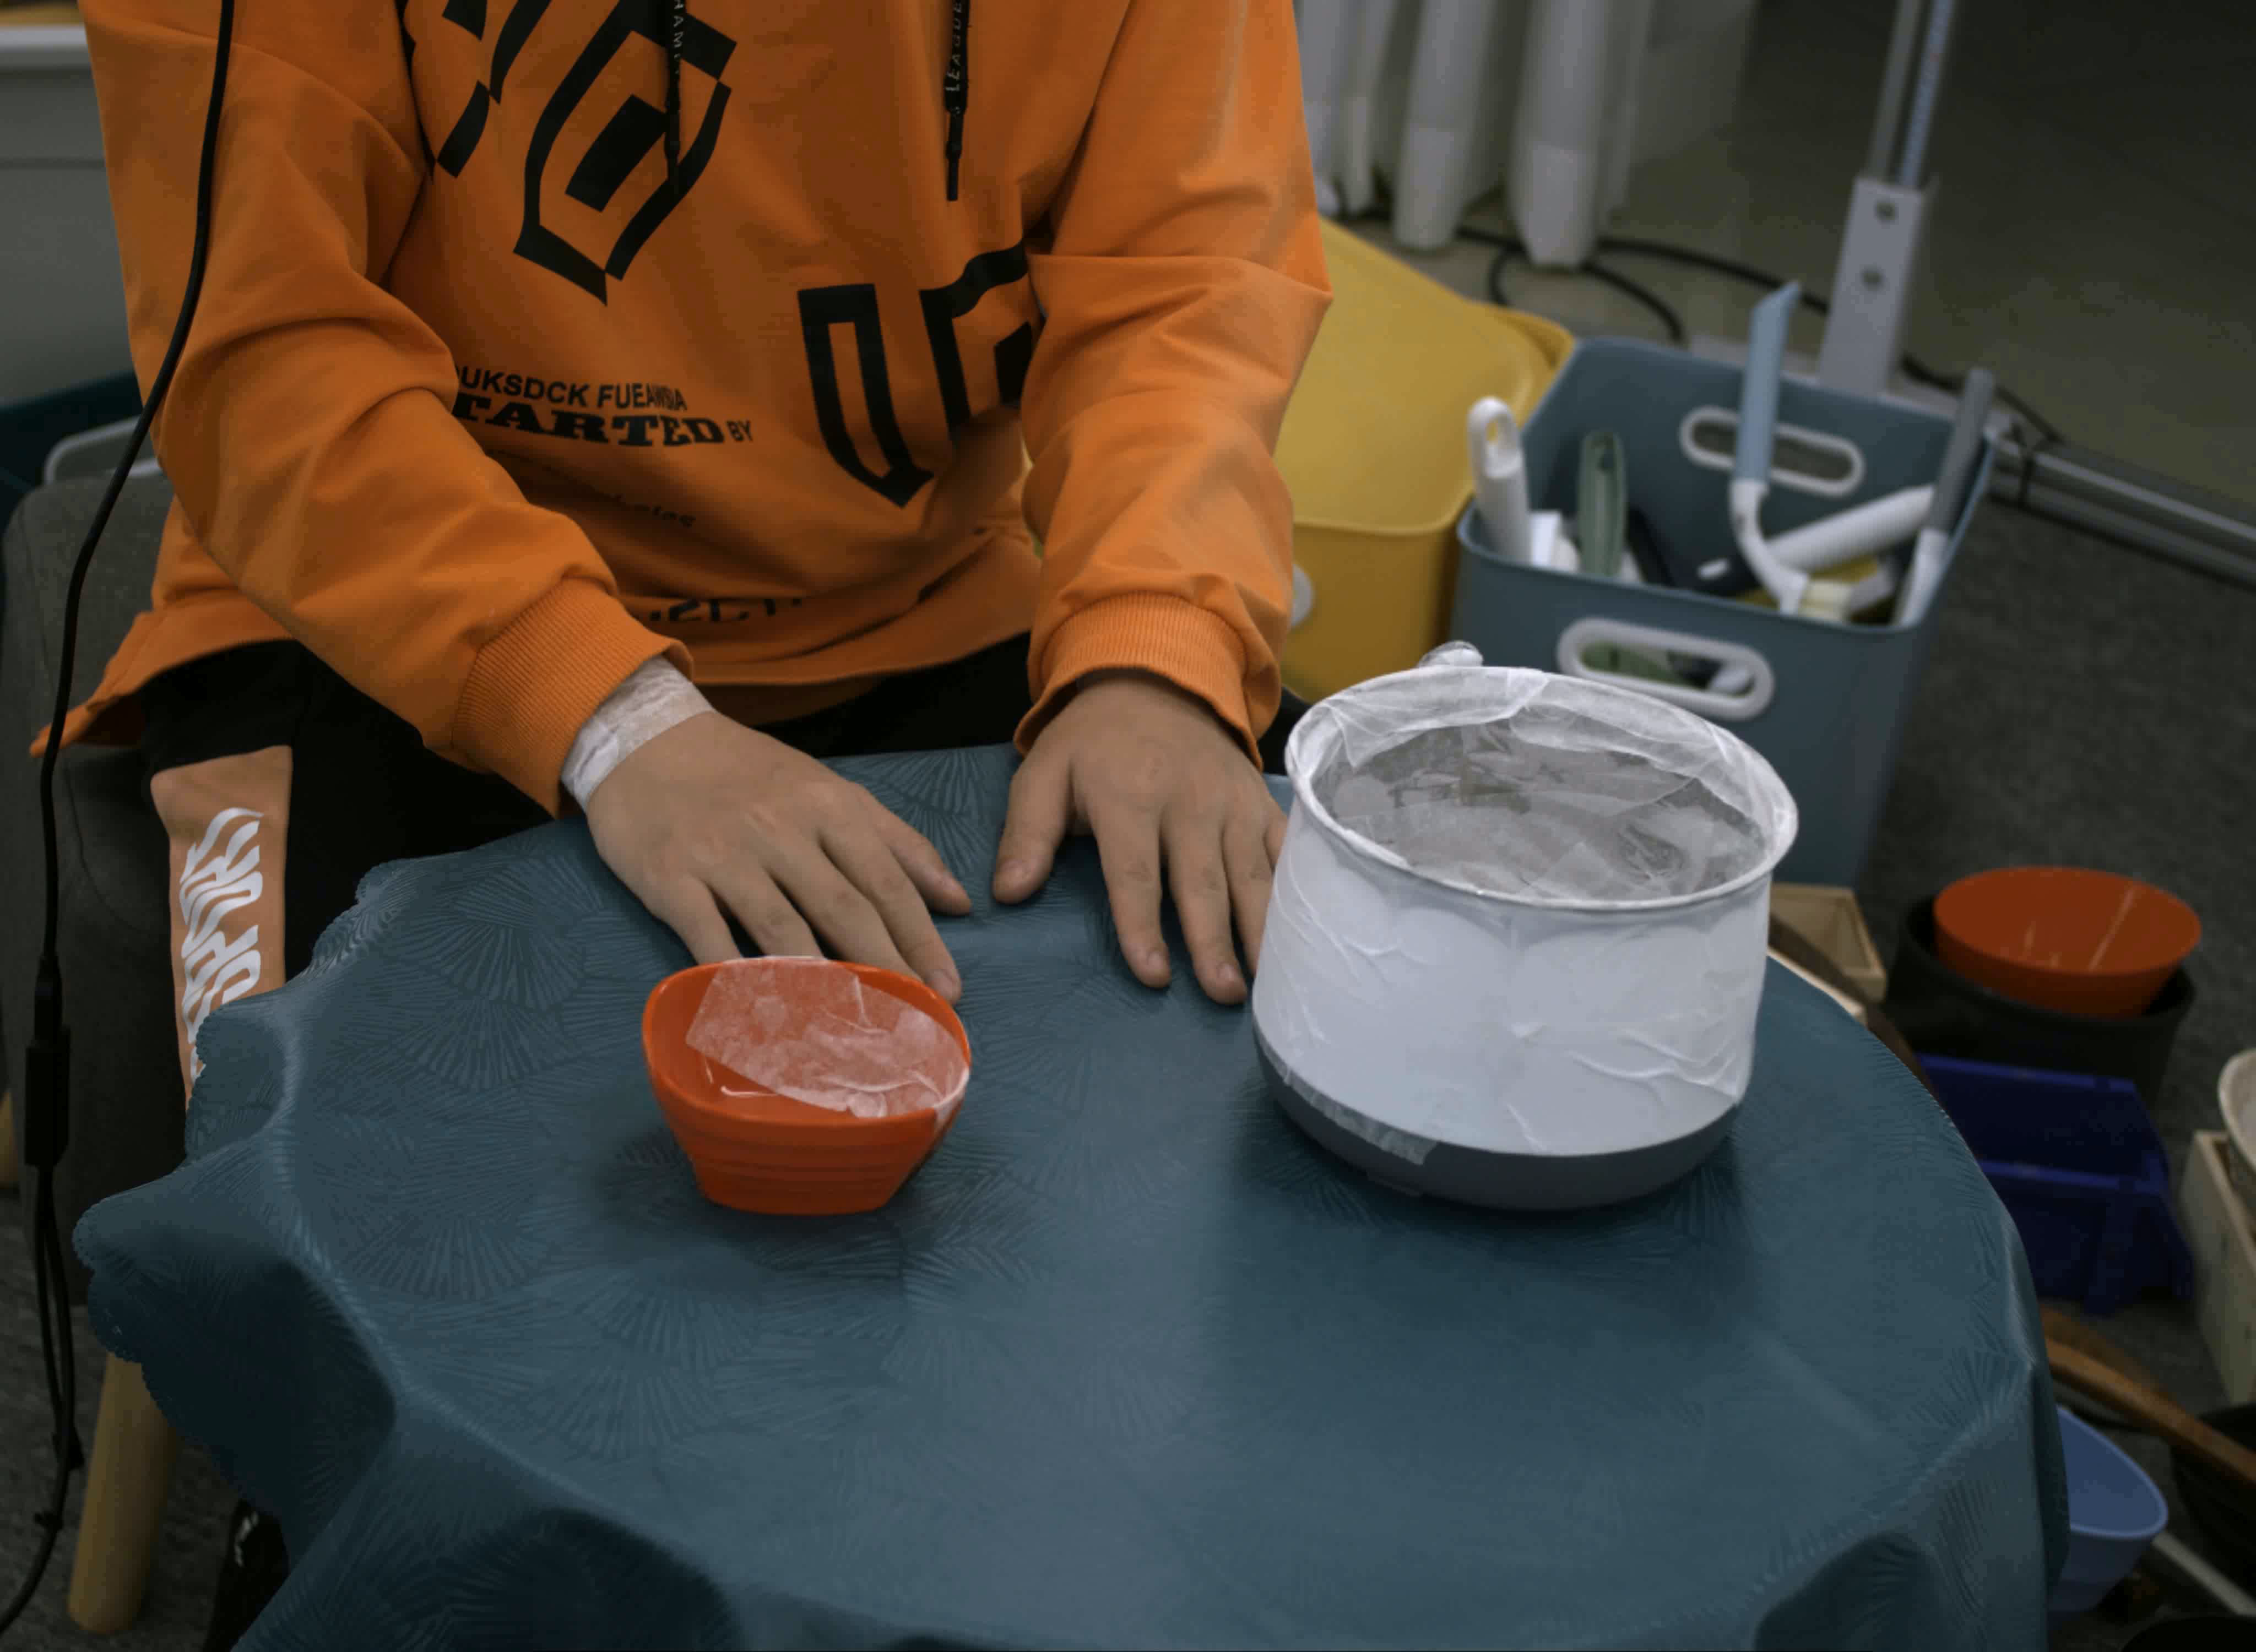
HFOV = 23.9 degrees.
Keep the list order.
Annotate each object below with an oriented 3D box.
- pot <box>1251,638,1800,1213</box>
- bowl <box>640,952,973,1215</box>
[{"bbox_3d":[0.127,0.028,1.867,0.177,0.136,0.236,-1,28,-16],"label":"pot"},{"bbox_3d":[-0.110,0.091,1.785,0.118,0.051,0.119,4,29,-3],"label":"bowl"}]
